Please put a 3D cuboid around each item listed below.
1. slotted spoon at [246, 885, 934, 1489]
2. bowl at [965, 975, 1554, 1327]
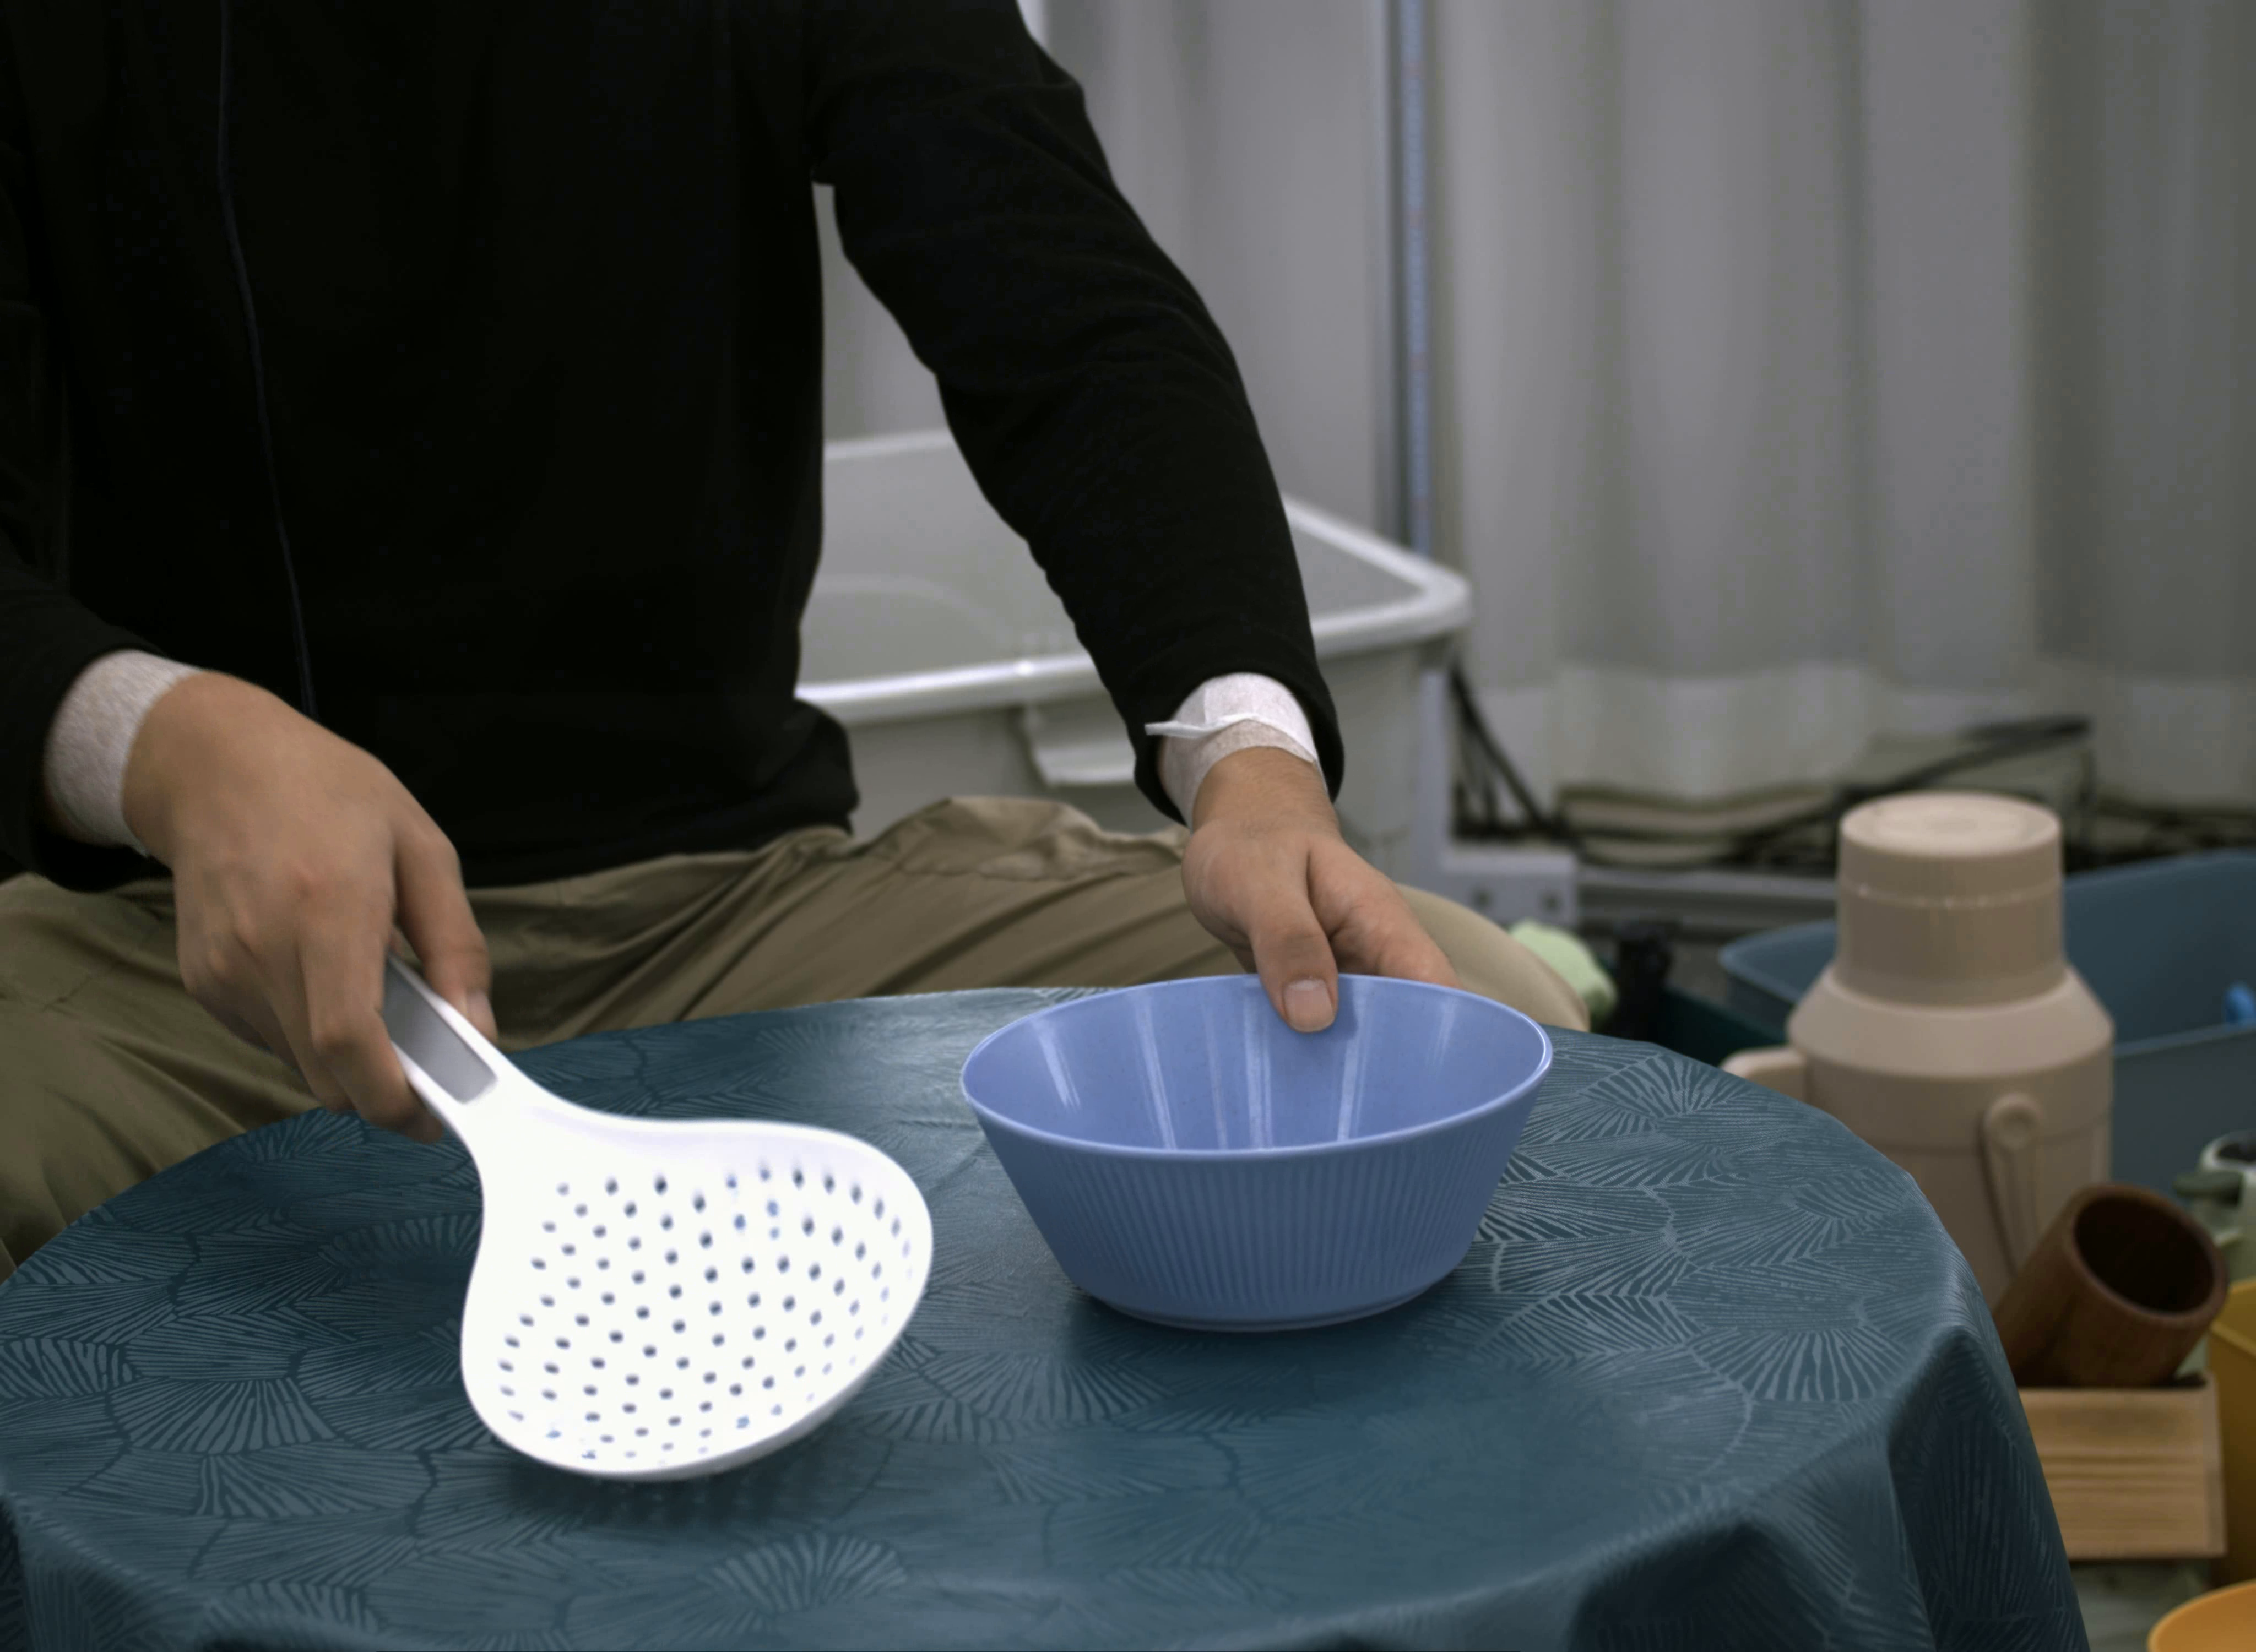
[{"bbox_3d":[-0.175,0.095,1.592,0.136,0.045,0.354,-32,41,-18],"label":"slotted spoon"},{"bbox_3d":[0.040,0.099,1.628,0.175,0.070,0.177,-3,14,0],"label":"bowl"}]
